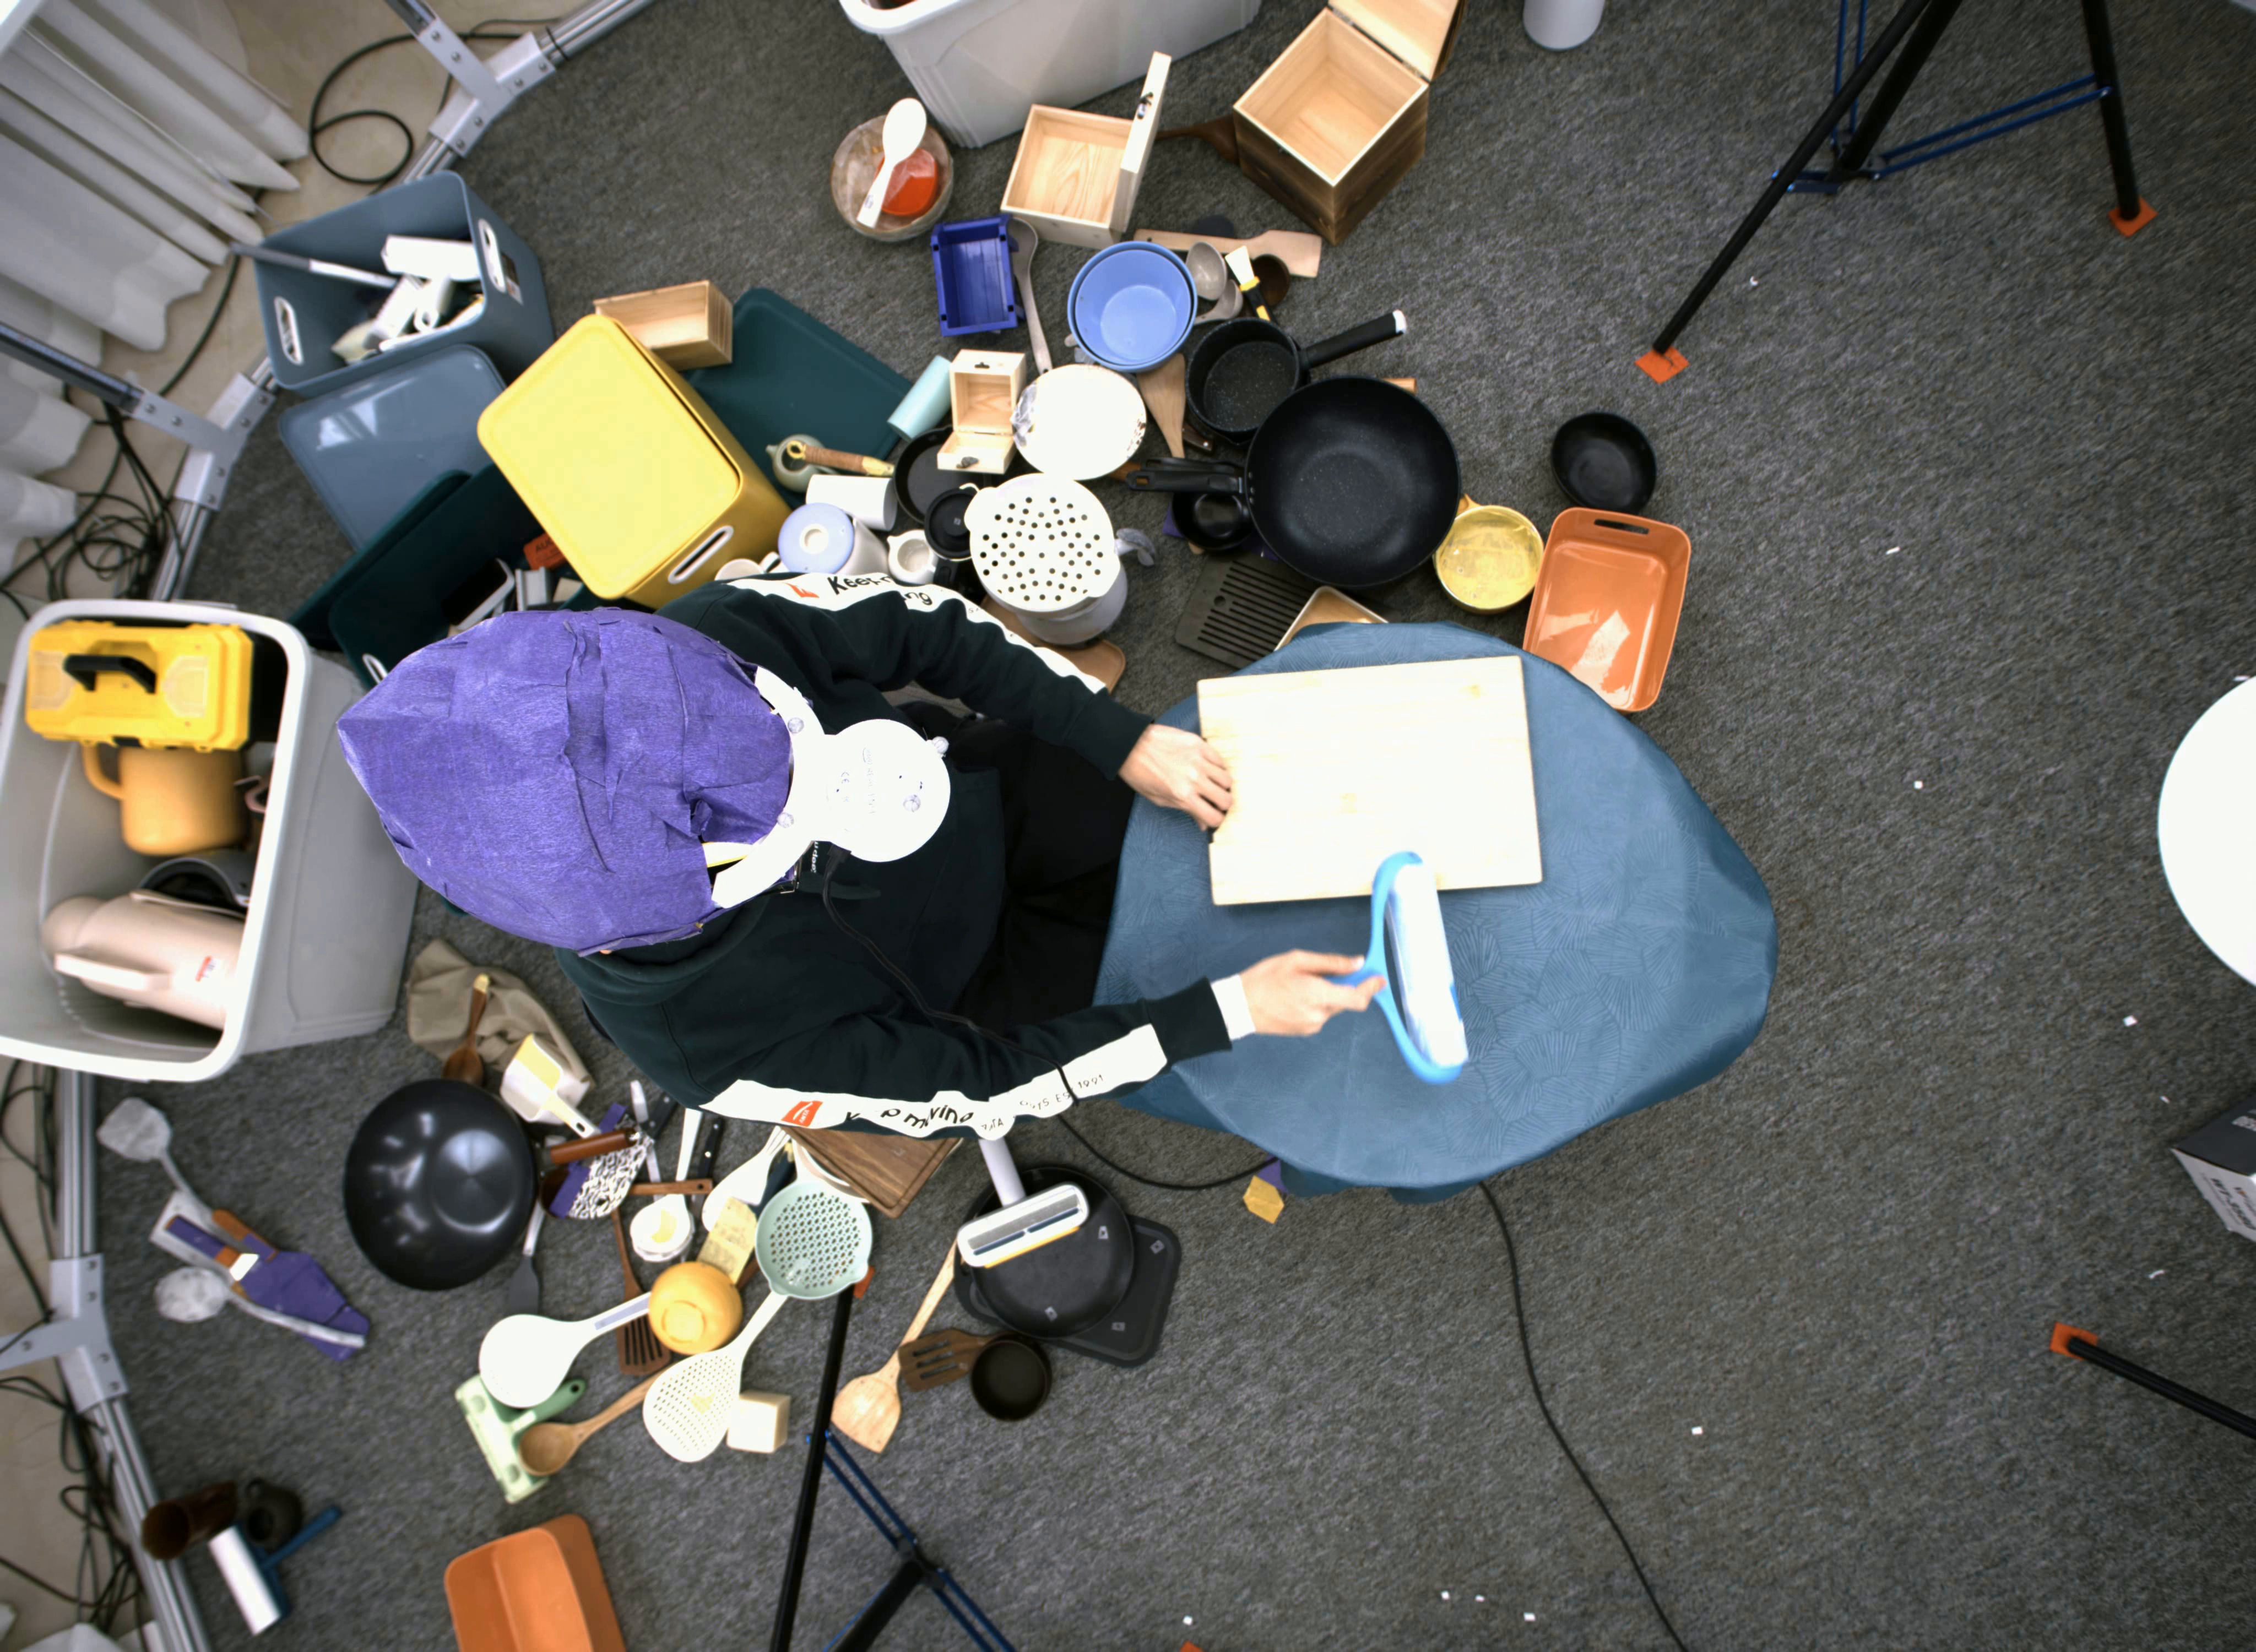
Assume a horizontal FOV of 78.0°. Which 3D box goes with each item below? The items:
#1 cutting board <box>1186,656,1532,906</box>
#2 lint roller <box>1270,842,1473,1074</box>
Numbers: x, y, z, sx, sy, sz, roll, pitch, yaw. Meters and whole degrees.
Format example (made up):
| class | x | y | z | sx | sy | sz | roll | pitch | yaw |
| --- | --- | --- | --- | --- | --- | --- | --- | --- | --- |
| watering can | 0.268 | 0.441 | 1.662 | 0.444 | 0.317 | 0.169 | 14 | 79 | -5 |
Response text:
| class | x | y | z | sx | sy | sz | roll | pitch | yaw |
| --- | --- | --- | --- | --- | --- | --- | --- | --- | --- |
| cutting board | 0.242 | -0.048 | 1.440 | 0.349 | 0.023 | 0.249 | -5 | 86 | 4 |
| lint roller | 0.230 | 0.141 | 1.334 | 0.180 | 0.068 | 0.229 | -14 | 92 | -6 |
